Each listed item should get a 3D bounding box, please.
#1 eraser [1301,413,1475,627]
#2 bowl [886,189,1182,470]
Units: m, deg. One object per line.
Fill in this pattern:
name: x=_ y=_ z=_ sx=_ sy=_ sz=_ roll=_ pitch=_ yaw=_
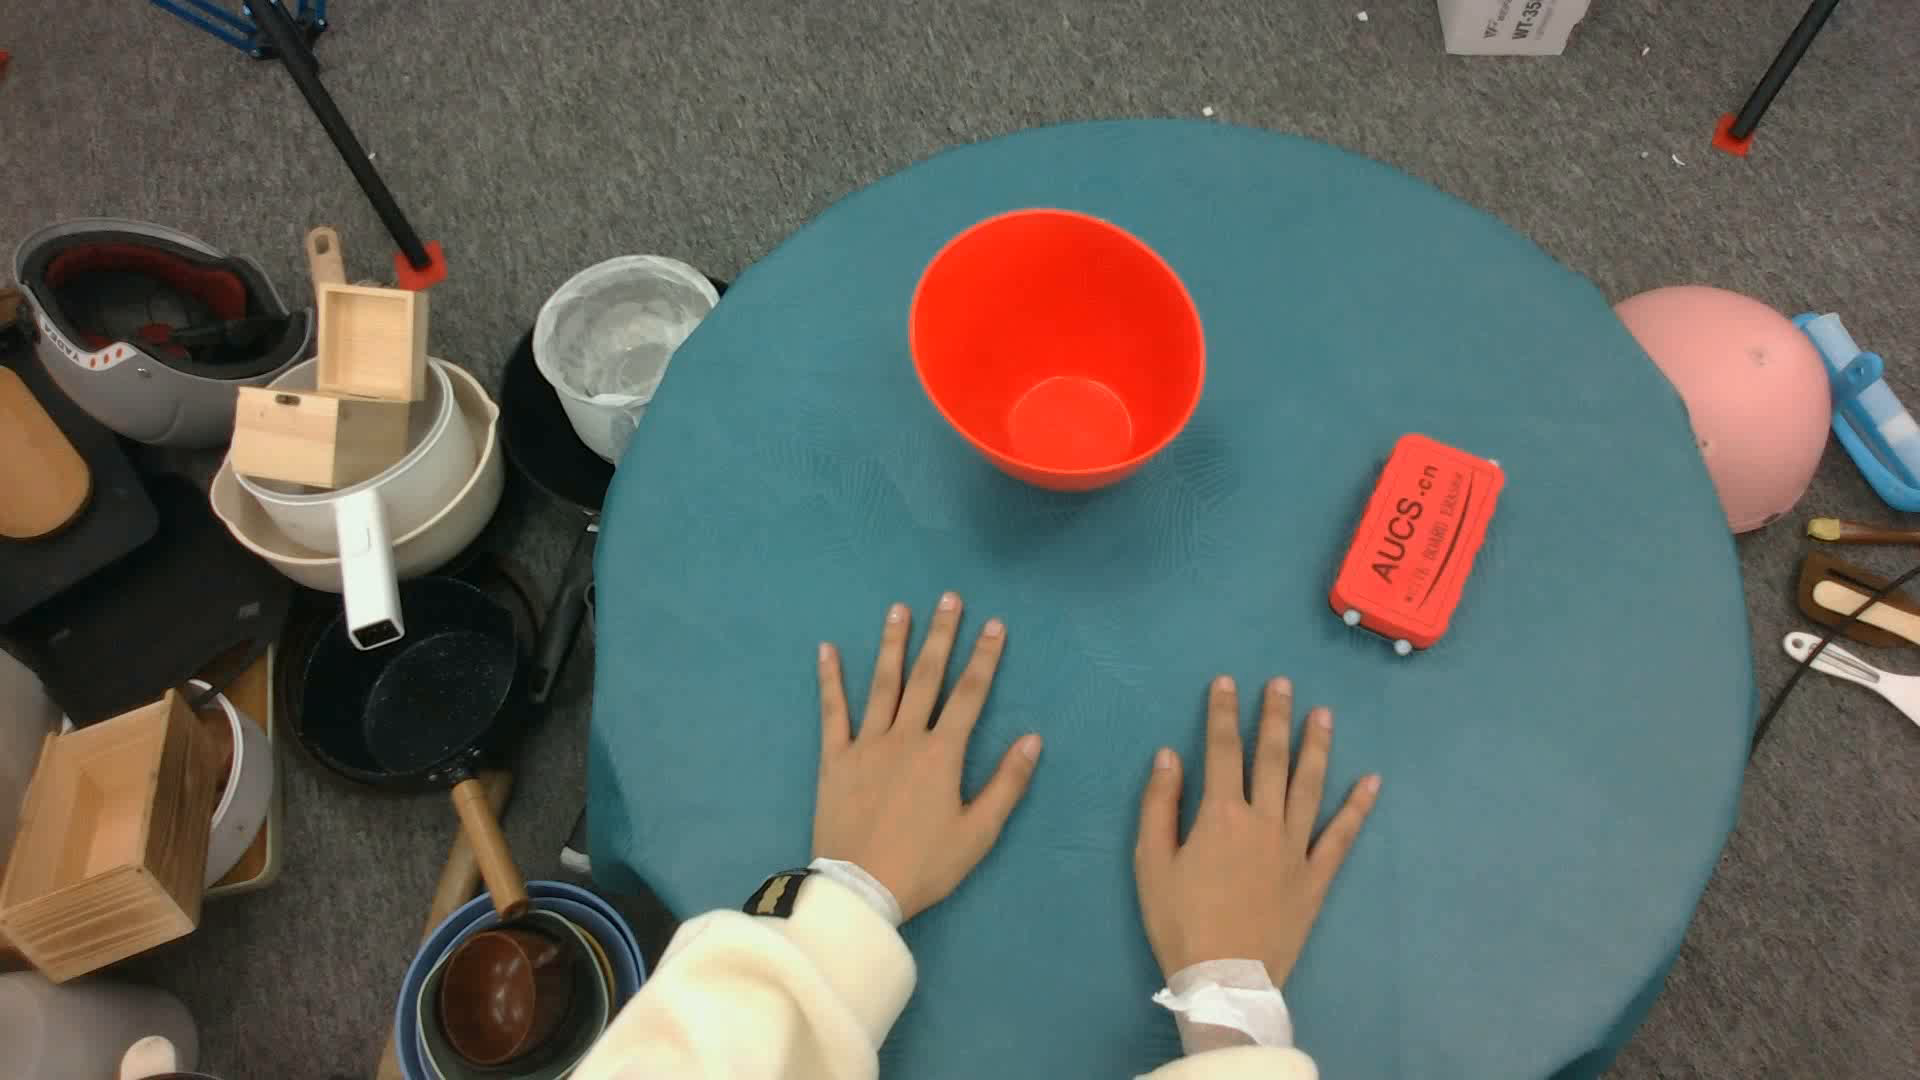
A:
eraser: x=0.224 y=-0.011 z=0.718 sx=0.059 sy=0.023 sz=0.108 roll=25 pitch=68 yaw=10
bowl: x=0.038 y=-0.094 z=0.715 sx=0.148 sy=0.104 sz=0.148 roll=0 pitch=65 yaw=0
